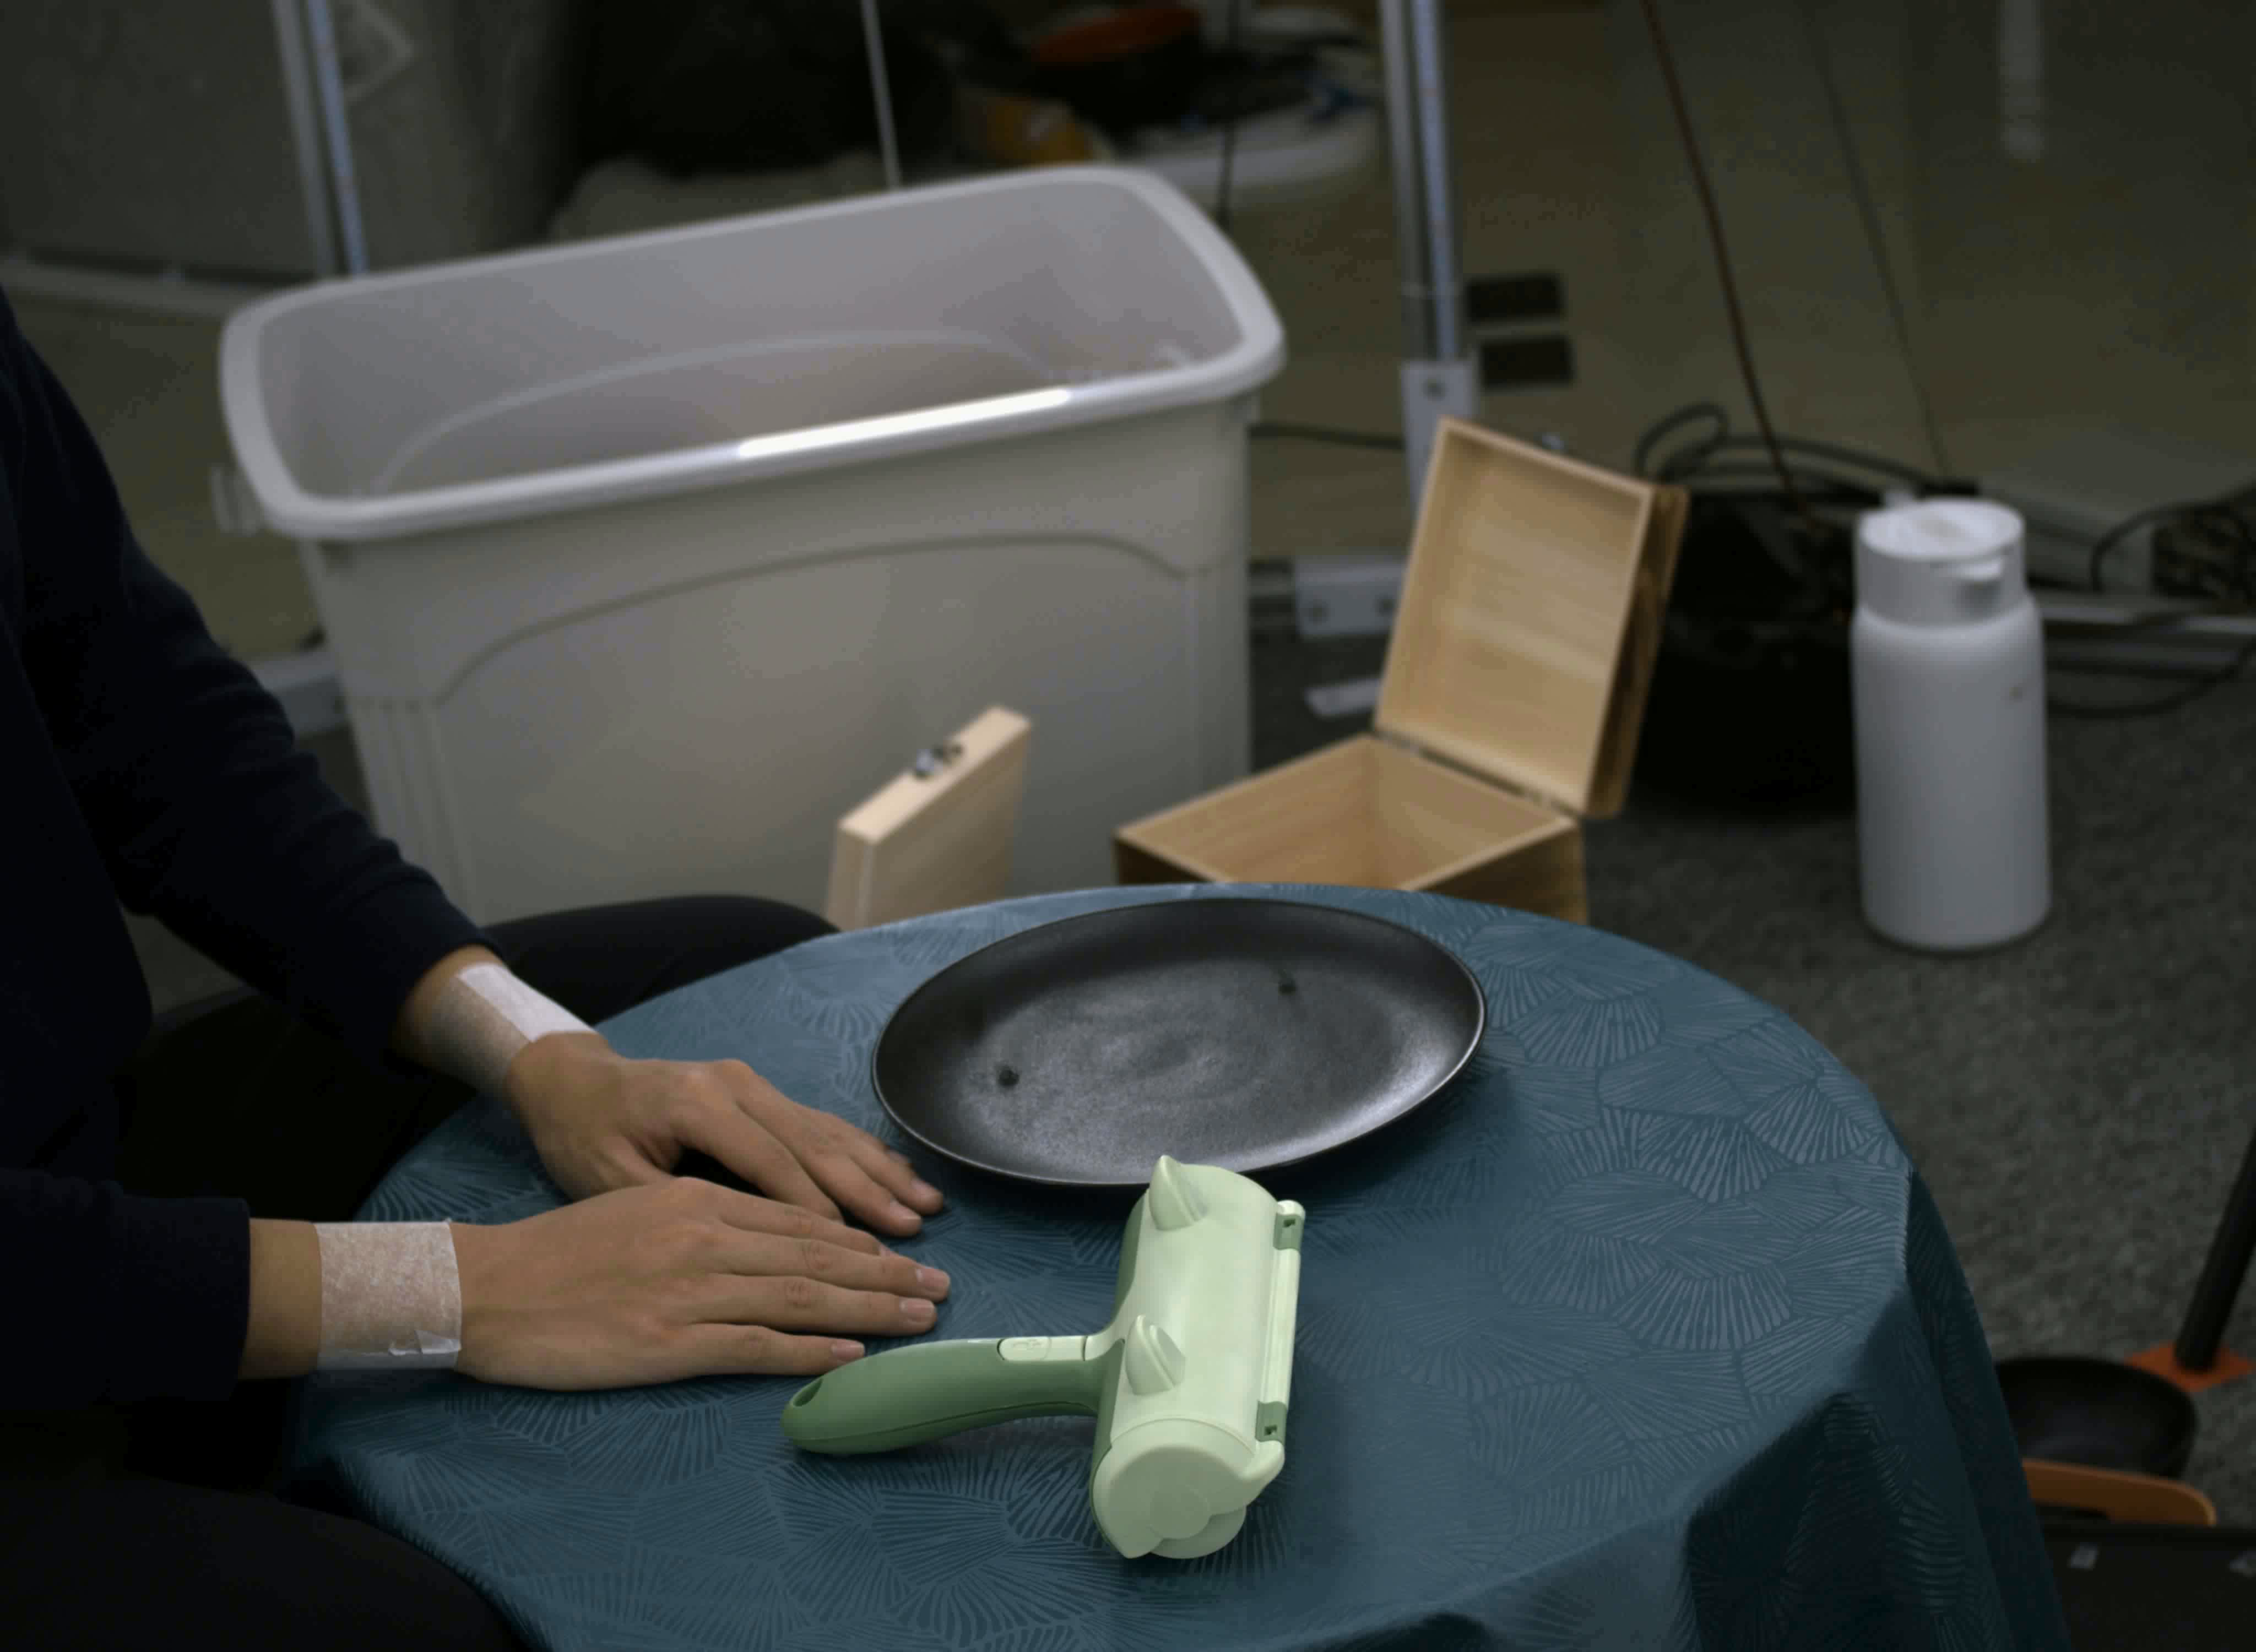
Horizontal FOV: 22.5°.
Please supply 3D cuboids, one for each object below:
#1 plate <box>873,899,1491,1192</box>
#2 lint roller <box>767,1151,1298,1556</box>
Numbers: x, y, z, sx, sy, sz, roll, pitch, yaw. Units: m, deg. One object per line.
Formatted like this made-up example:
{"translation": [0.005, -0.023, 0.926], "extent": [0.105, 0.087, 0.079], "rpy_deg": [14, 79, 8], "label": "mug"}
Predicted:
{"translation": [0.022, 0.090, 2.218], "extent": [0.244, 0.024, 0.241], "rpy_deg": [-5, 25, 3], "label": "plate"}
{"translation": [-0.035, 0.175, 1.975], "extent": [0.183, 0.083, 0.196], "rpy_deg": [2, 24, 3], "label": "lint roller"}
